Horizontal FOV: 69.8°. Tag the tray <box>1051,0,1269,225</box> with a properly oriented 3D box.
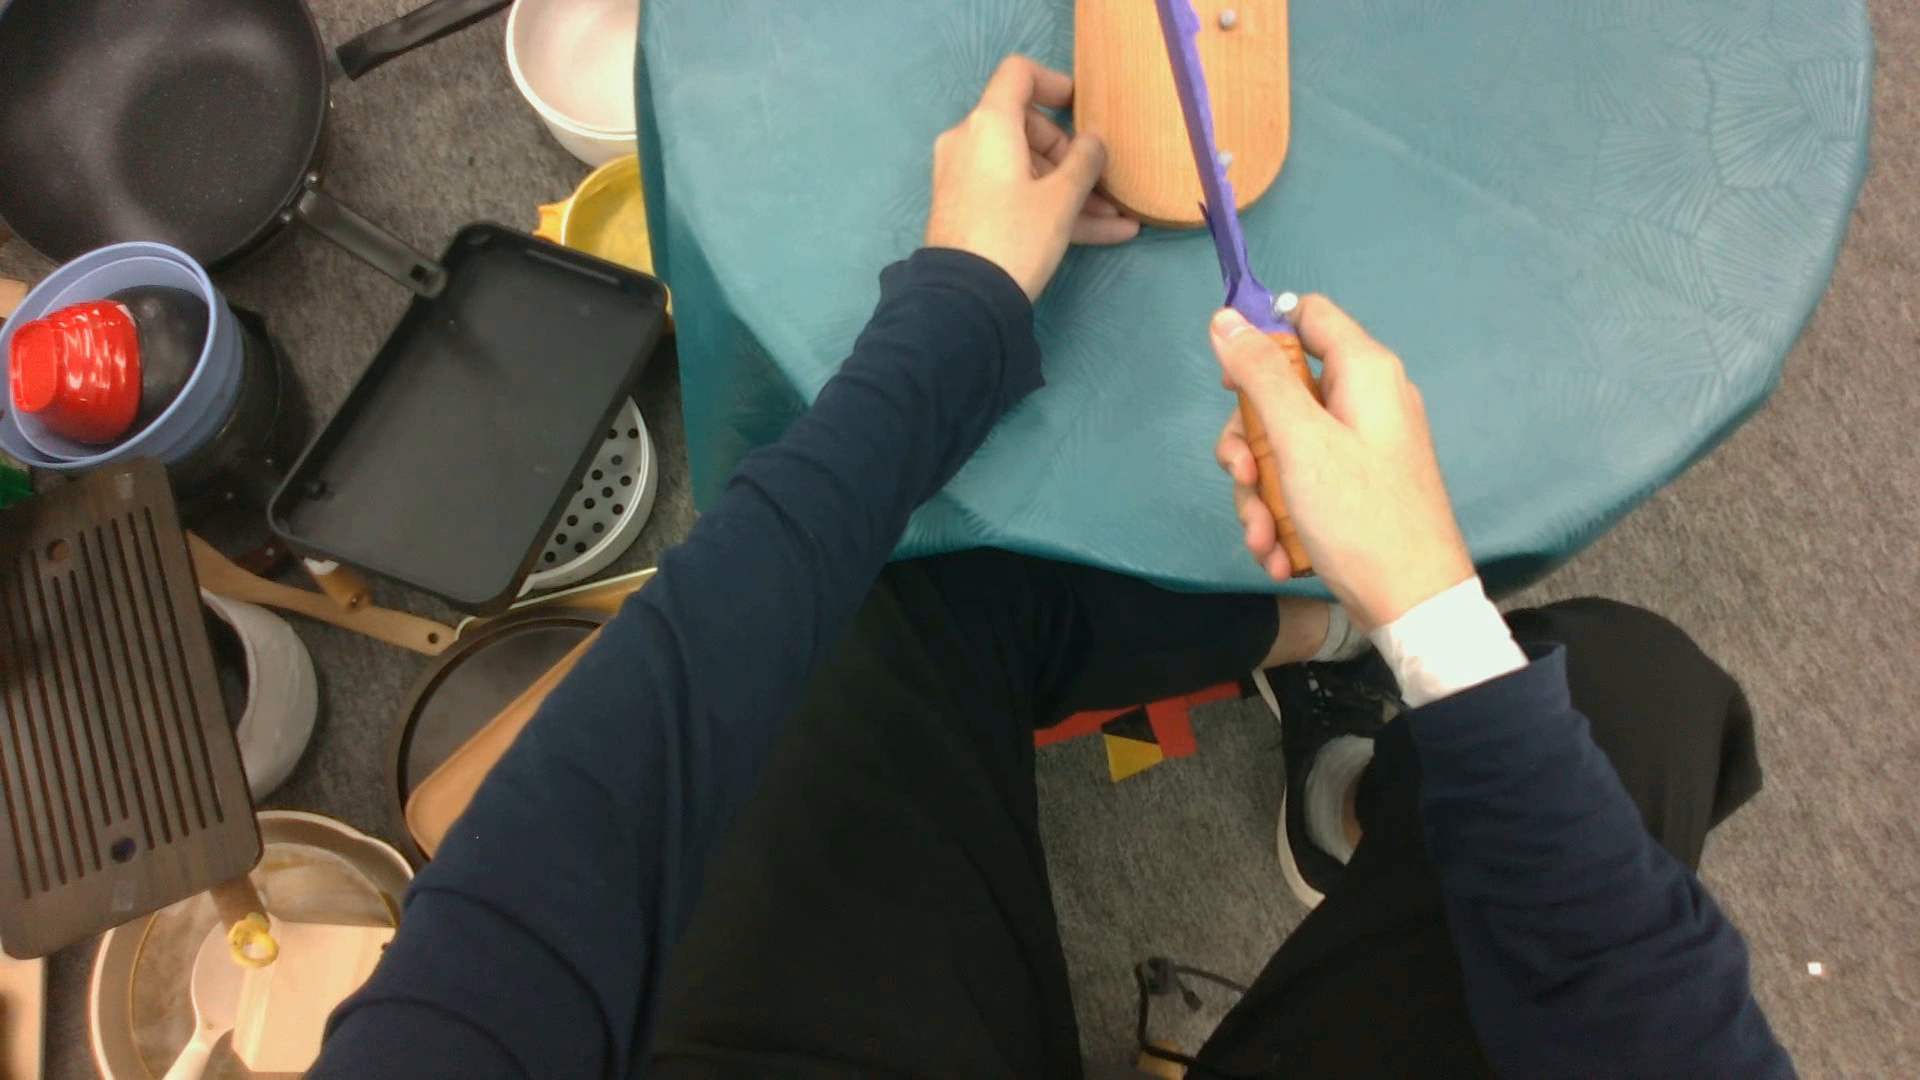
[{"bbox_3d":[0.094,-0.259,0.665,0.102,0.020,0.231,0,78,-1],"label":"tray"}]

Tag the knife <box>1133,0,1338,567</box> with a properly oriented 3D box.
[{"bbox_3d":[0.102,-0.140,0.565,0.032,0.104,0.315,-12,80,10],"label":"knife"}]
